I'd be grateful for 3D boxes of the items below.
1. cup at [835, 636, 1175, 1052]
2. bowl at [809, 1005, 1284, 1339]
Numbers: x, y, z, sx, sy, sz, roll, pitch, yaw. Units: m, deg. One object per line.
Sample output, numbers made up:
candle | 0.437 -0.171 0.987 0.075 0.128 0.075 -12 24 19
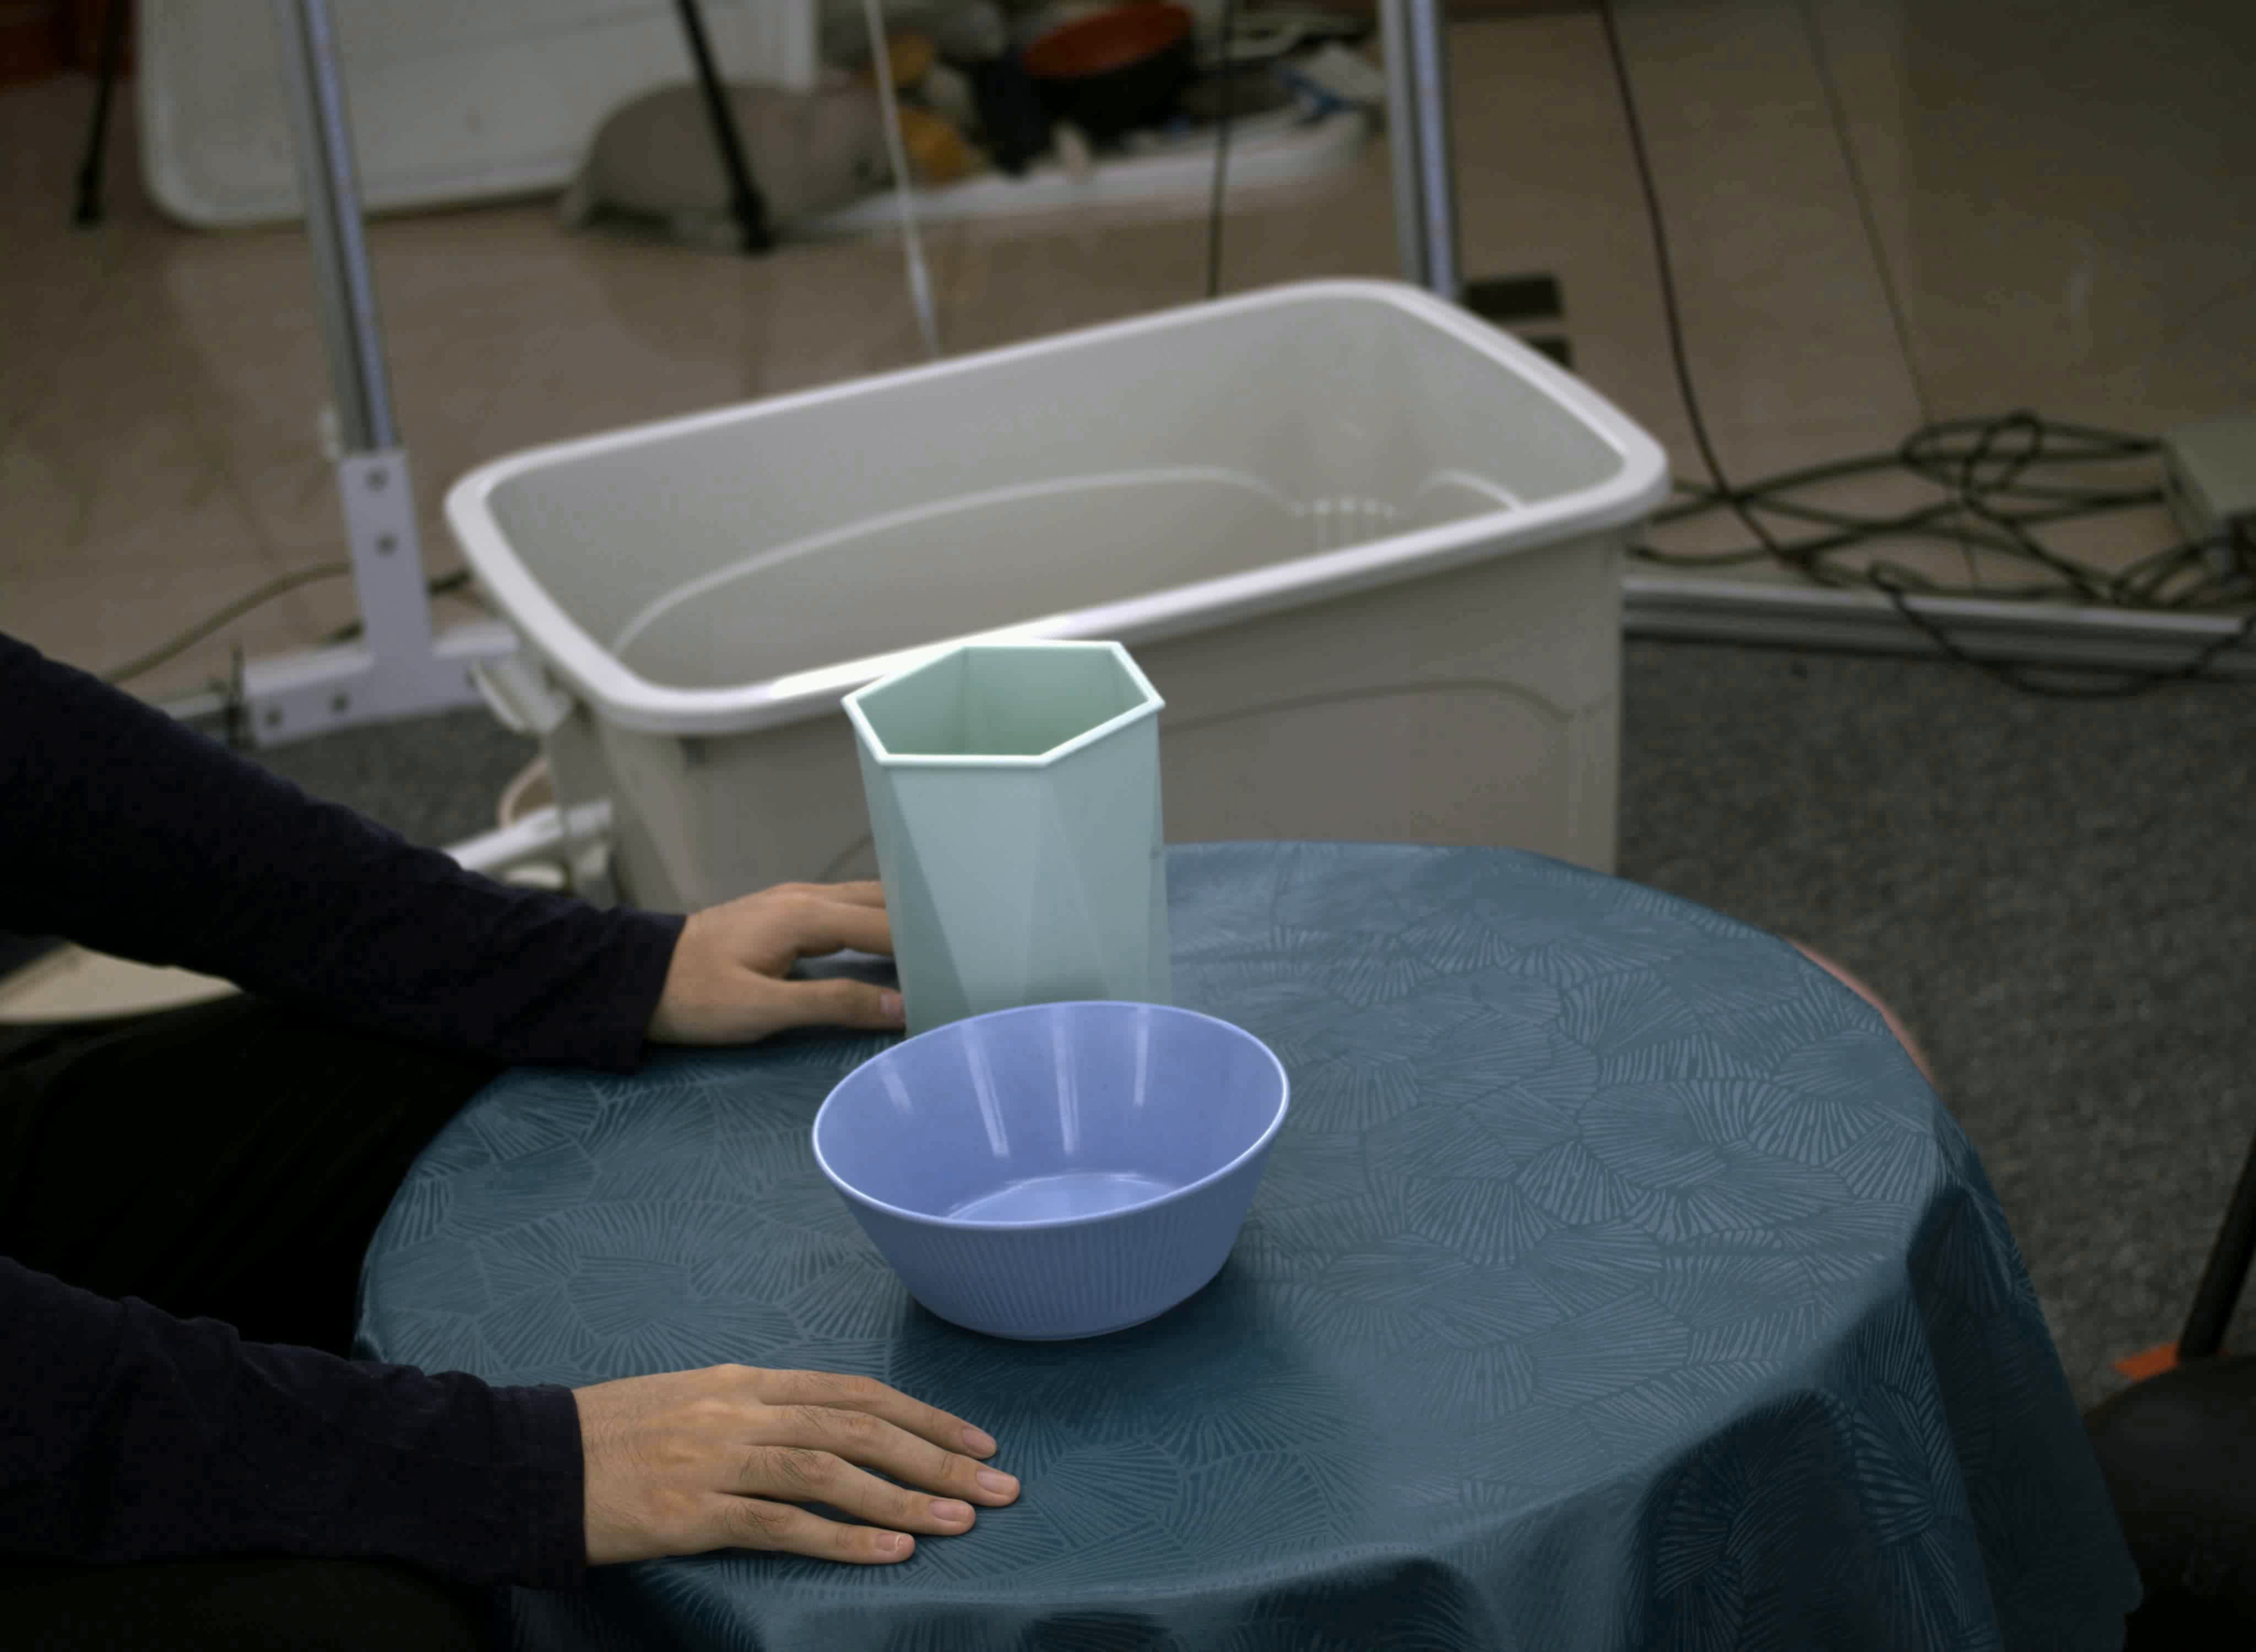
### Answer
cup | -0.040 0.022 2.214 0.115 0.165 0.129 -14 26 -12
bowl | -0.027 0.133 2.083 0.176 0.071 0.173 -6 25 3
